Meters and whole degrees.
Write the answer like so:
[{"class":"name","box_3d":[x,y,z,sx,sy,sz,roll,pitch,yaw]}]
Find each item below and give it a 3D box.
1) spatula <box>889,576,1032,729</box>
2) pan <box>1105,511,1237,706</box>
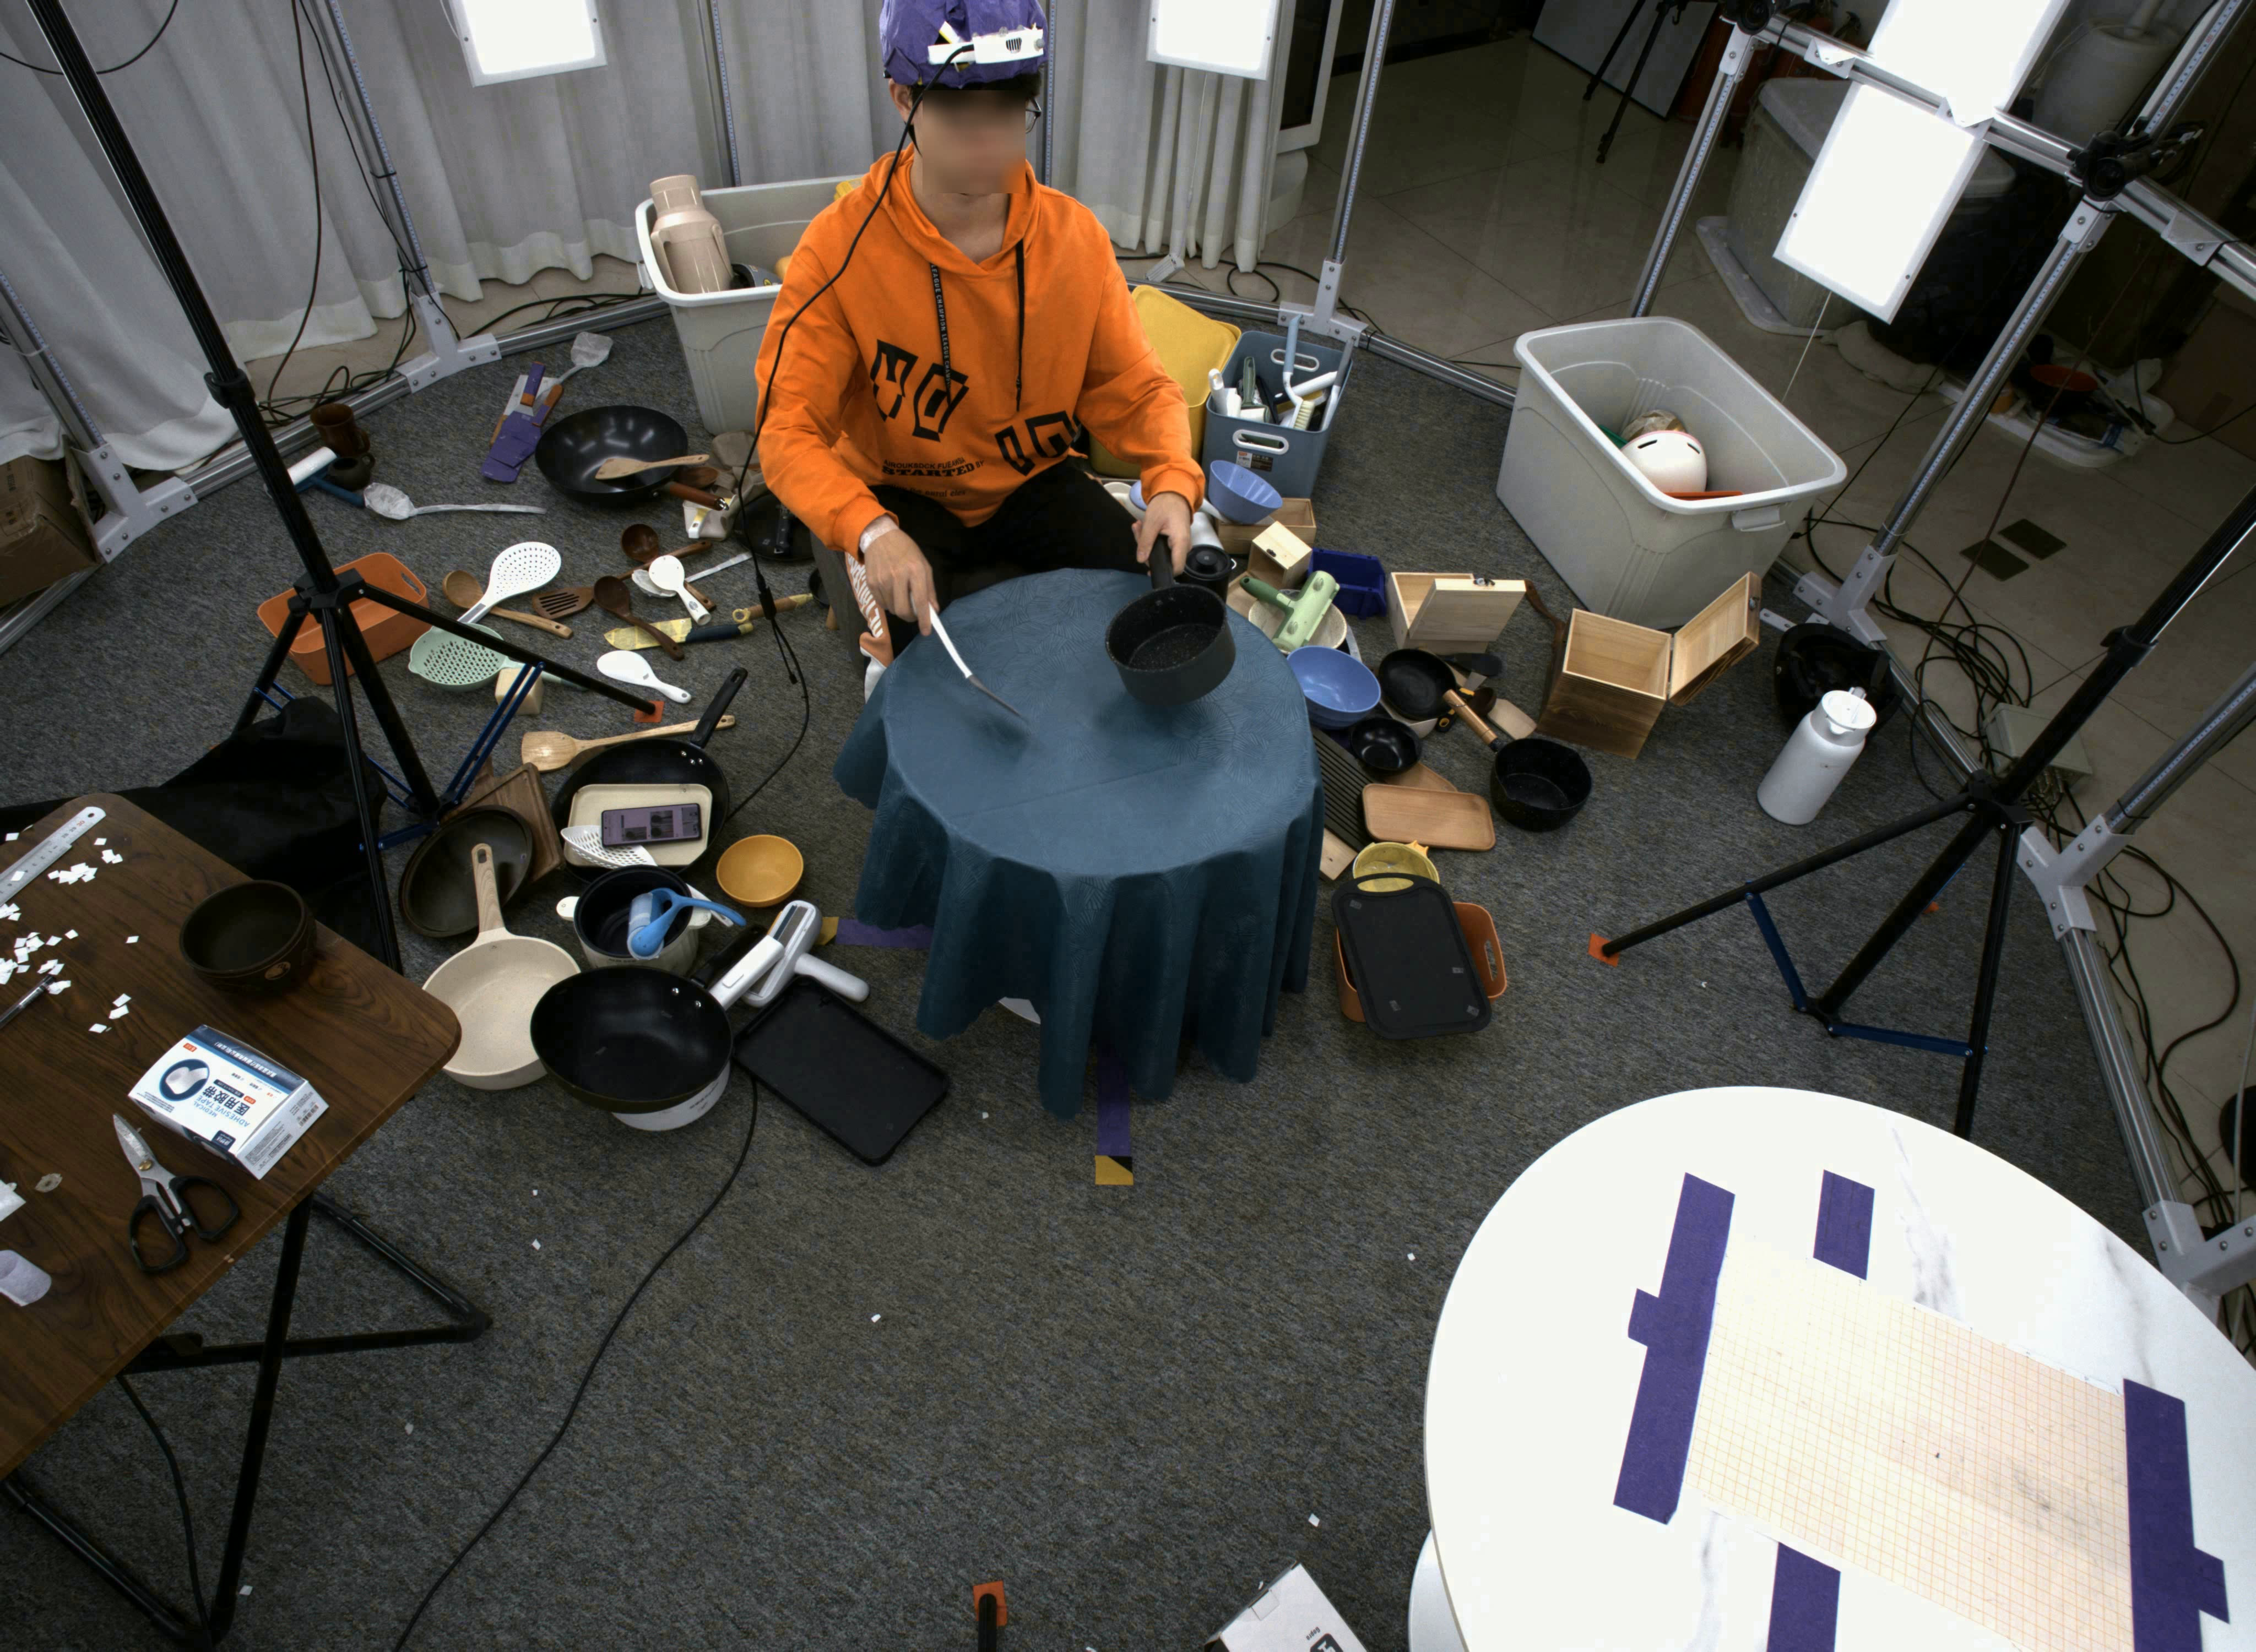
[{"class":"spatula","box_3d":[-0.231,-0.235,1.770,0.032,0.058,0.291,-40,73,-4]},{"class":"pan","box_3d":[0.060,-0.309,1.809,0.172,0.084,0.337,-11,48,12]}]
